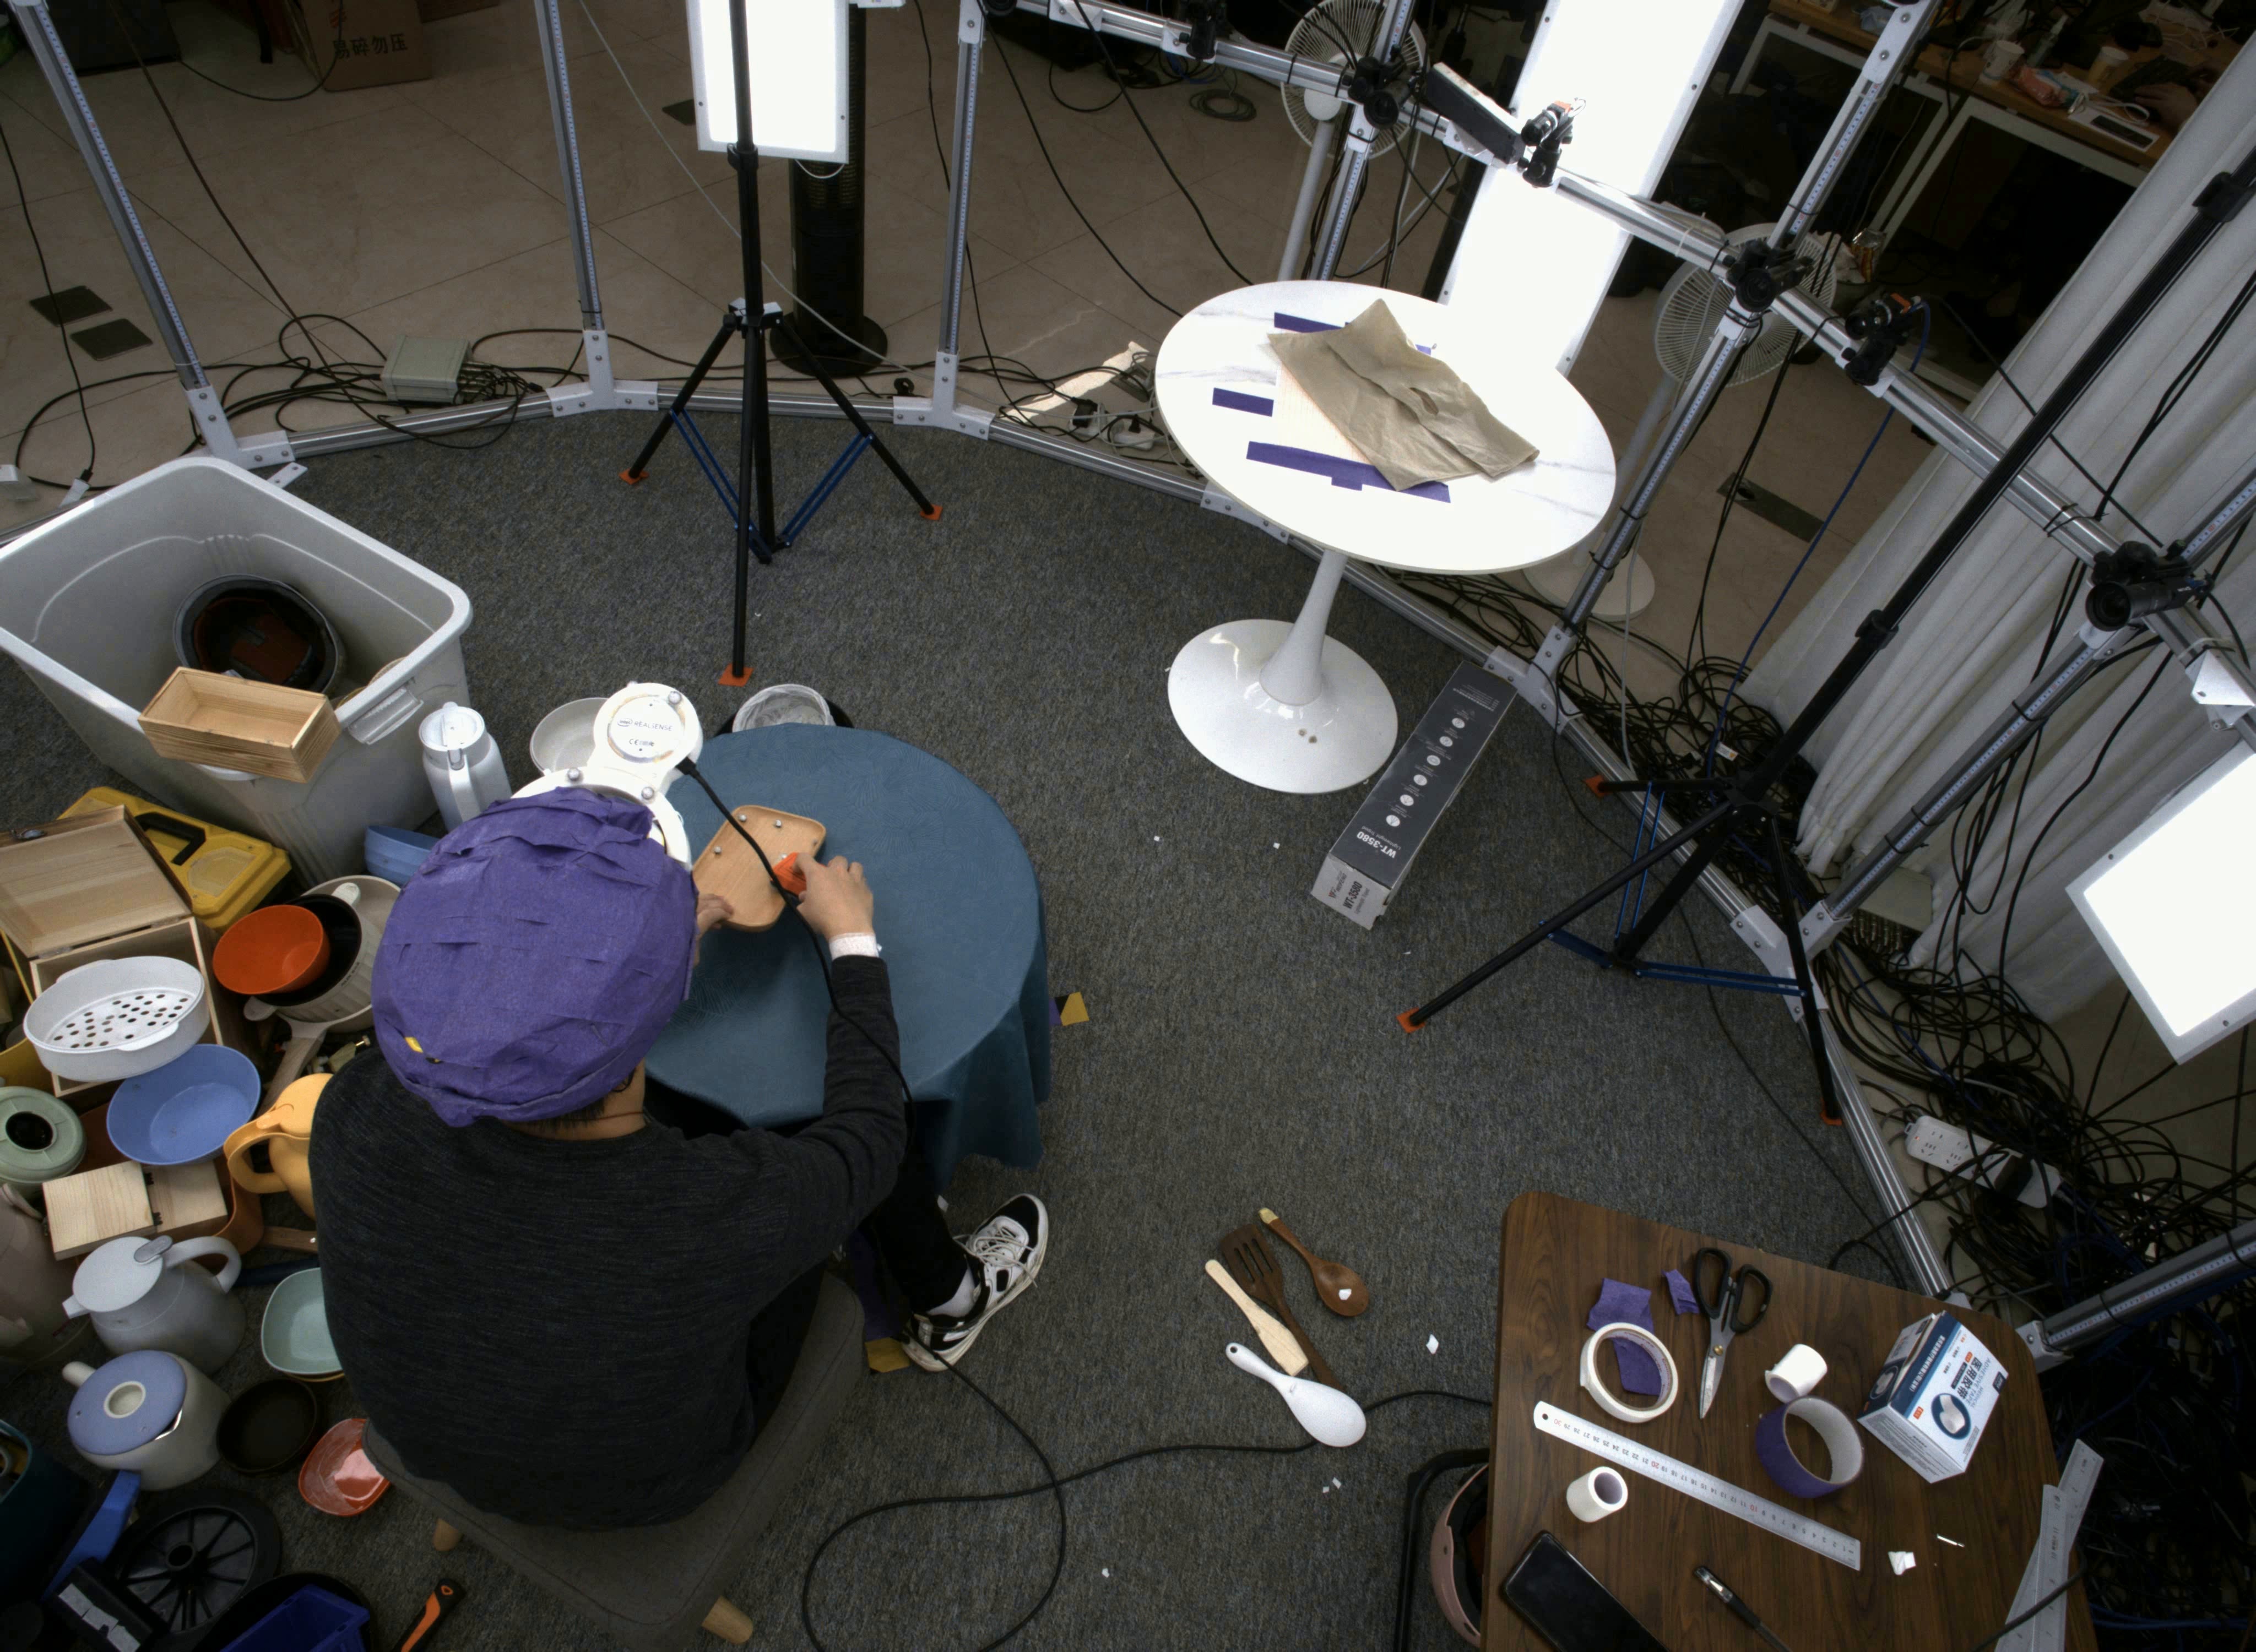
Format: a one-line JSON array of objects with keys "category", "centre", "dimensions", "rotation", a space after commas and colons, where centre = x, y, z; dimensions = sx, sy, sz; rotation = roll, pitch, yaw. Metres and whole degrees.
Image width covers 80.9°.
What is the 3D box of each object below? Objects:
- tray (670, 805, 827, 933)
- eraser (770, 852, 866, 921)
[{"category": "tray", "centre": [-0.467, 0.048, 1.609], "dimensions": [0.129, 0.023, 0.247], "rotation": [14, 31, 0]}, {"category": "eraser", "centre": [-0.379, 0.072, 1.584], "dimensions": [0.106, 0.023, 0.058], "rotation": [27, 32, 5]}]
